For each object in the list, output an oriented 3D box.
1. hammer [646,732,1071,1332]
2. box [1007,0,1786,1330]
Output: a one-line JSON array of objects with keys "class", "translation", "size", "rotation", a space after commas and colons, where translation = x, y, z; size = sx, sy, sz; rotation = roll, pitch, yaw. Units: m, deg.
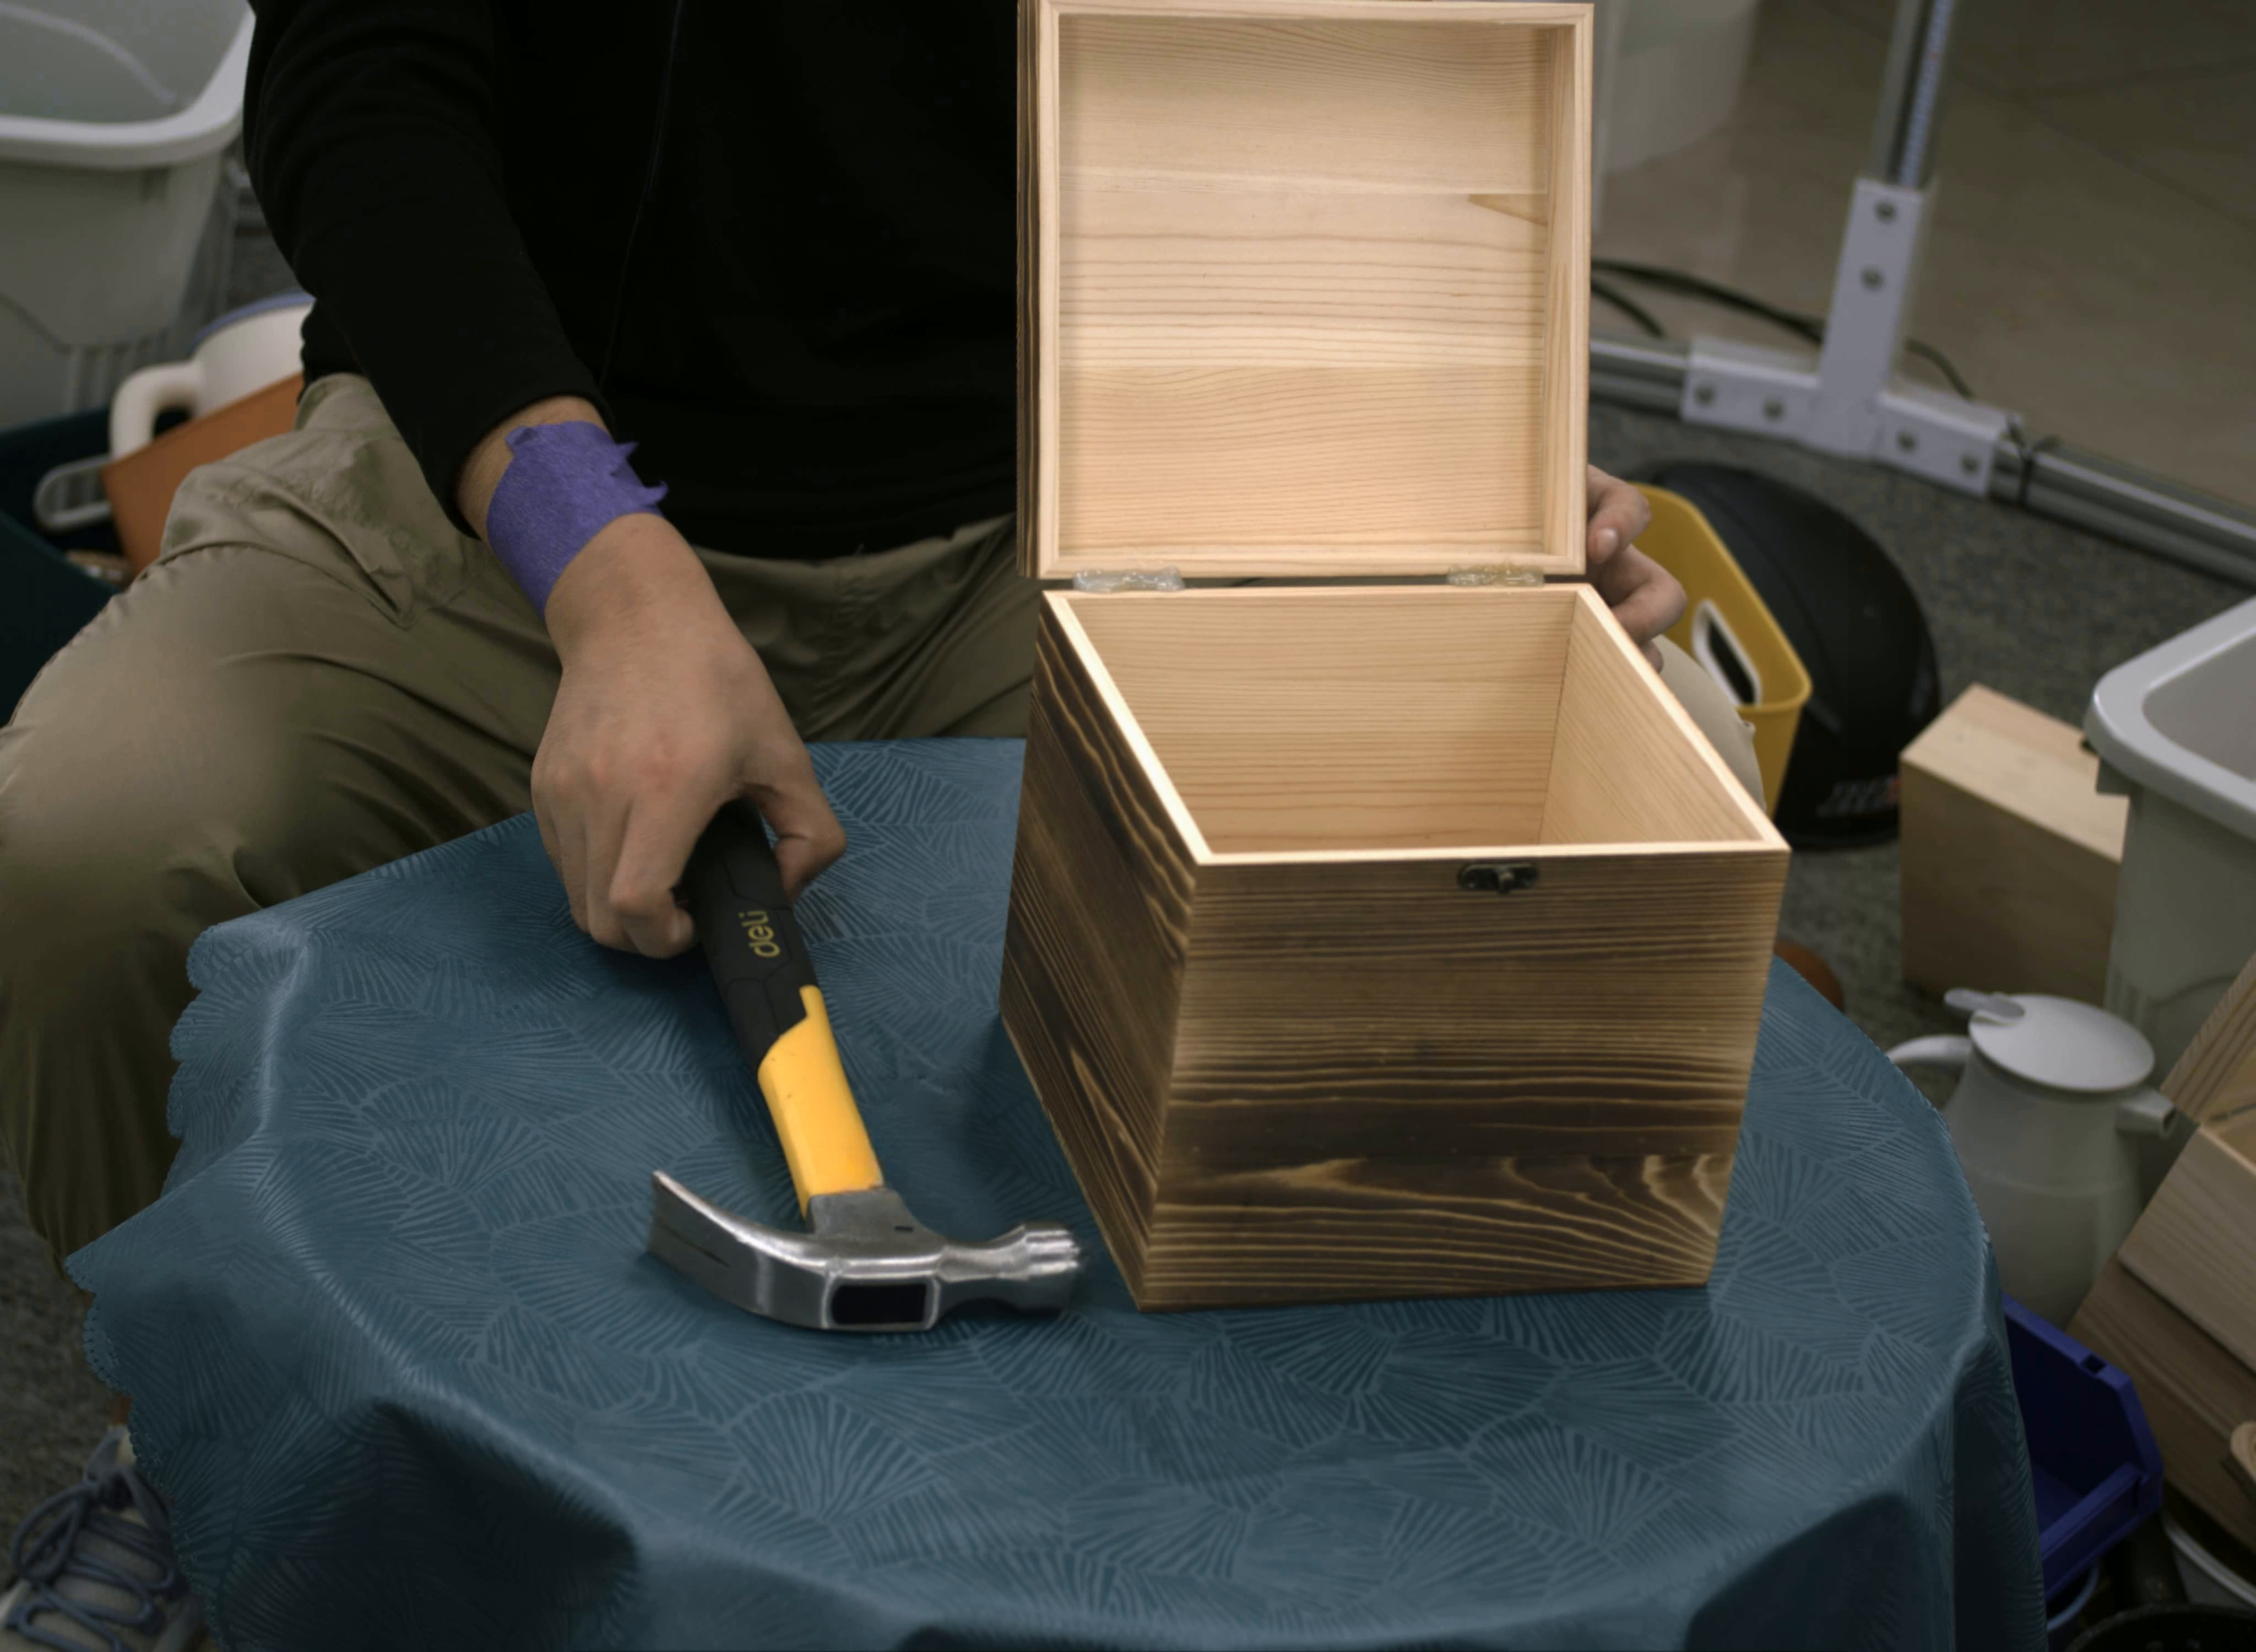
[{"class": "hammer", "translation": [-0.119, 0.063, 1.840], "size": [0.130, 0.032, 0.341], "rotation": [-2, 32, -14]}, {"class": "box", "translation": [0.078, -0.071, 1.812], "size": [0.207, 0.374, 0.325], "rotation": [-2, 27, -15]}]
